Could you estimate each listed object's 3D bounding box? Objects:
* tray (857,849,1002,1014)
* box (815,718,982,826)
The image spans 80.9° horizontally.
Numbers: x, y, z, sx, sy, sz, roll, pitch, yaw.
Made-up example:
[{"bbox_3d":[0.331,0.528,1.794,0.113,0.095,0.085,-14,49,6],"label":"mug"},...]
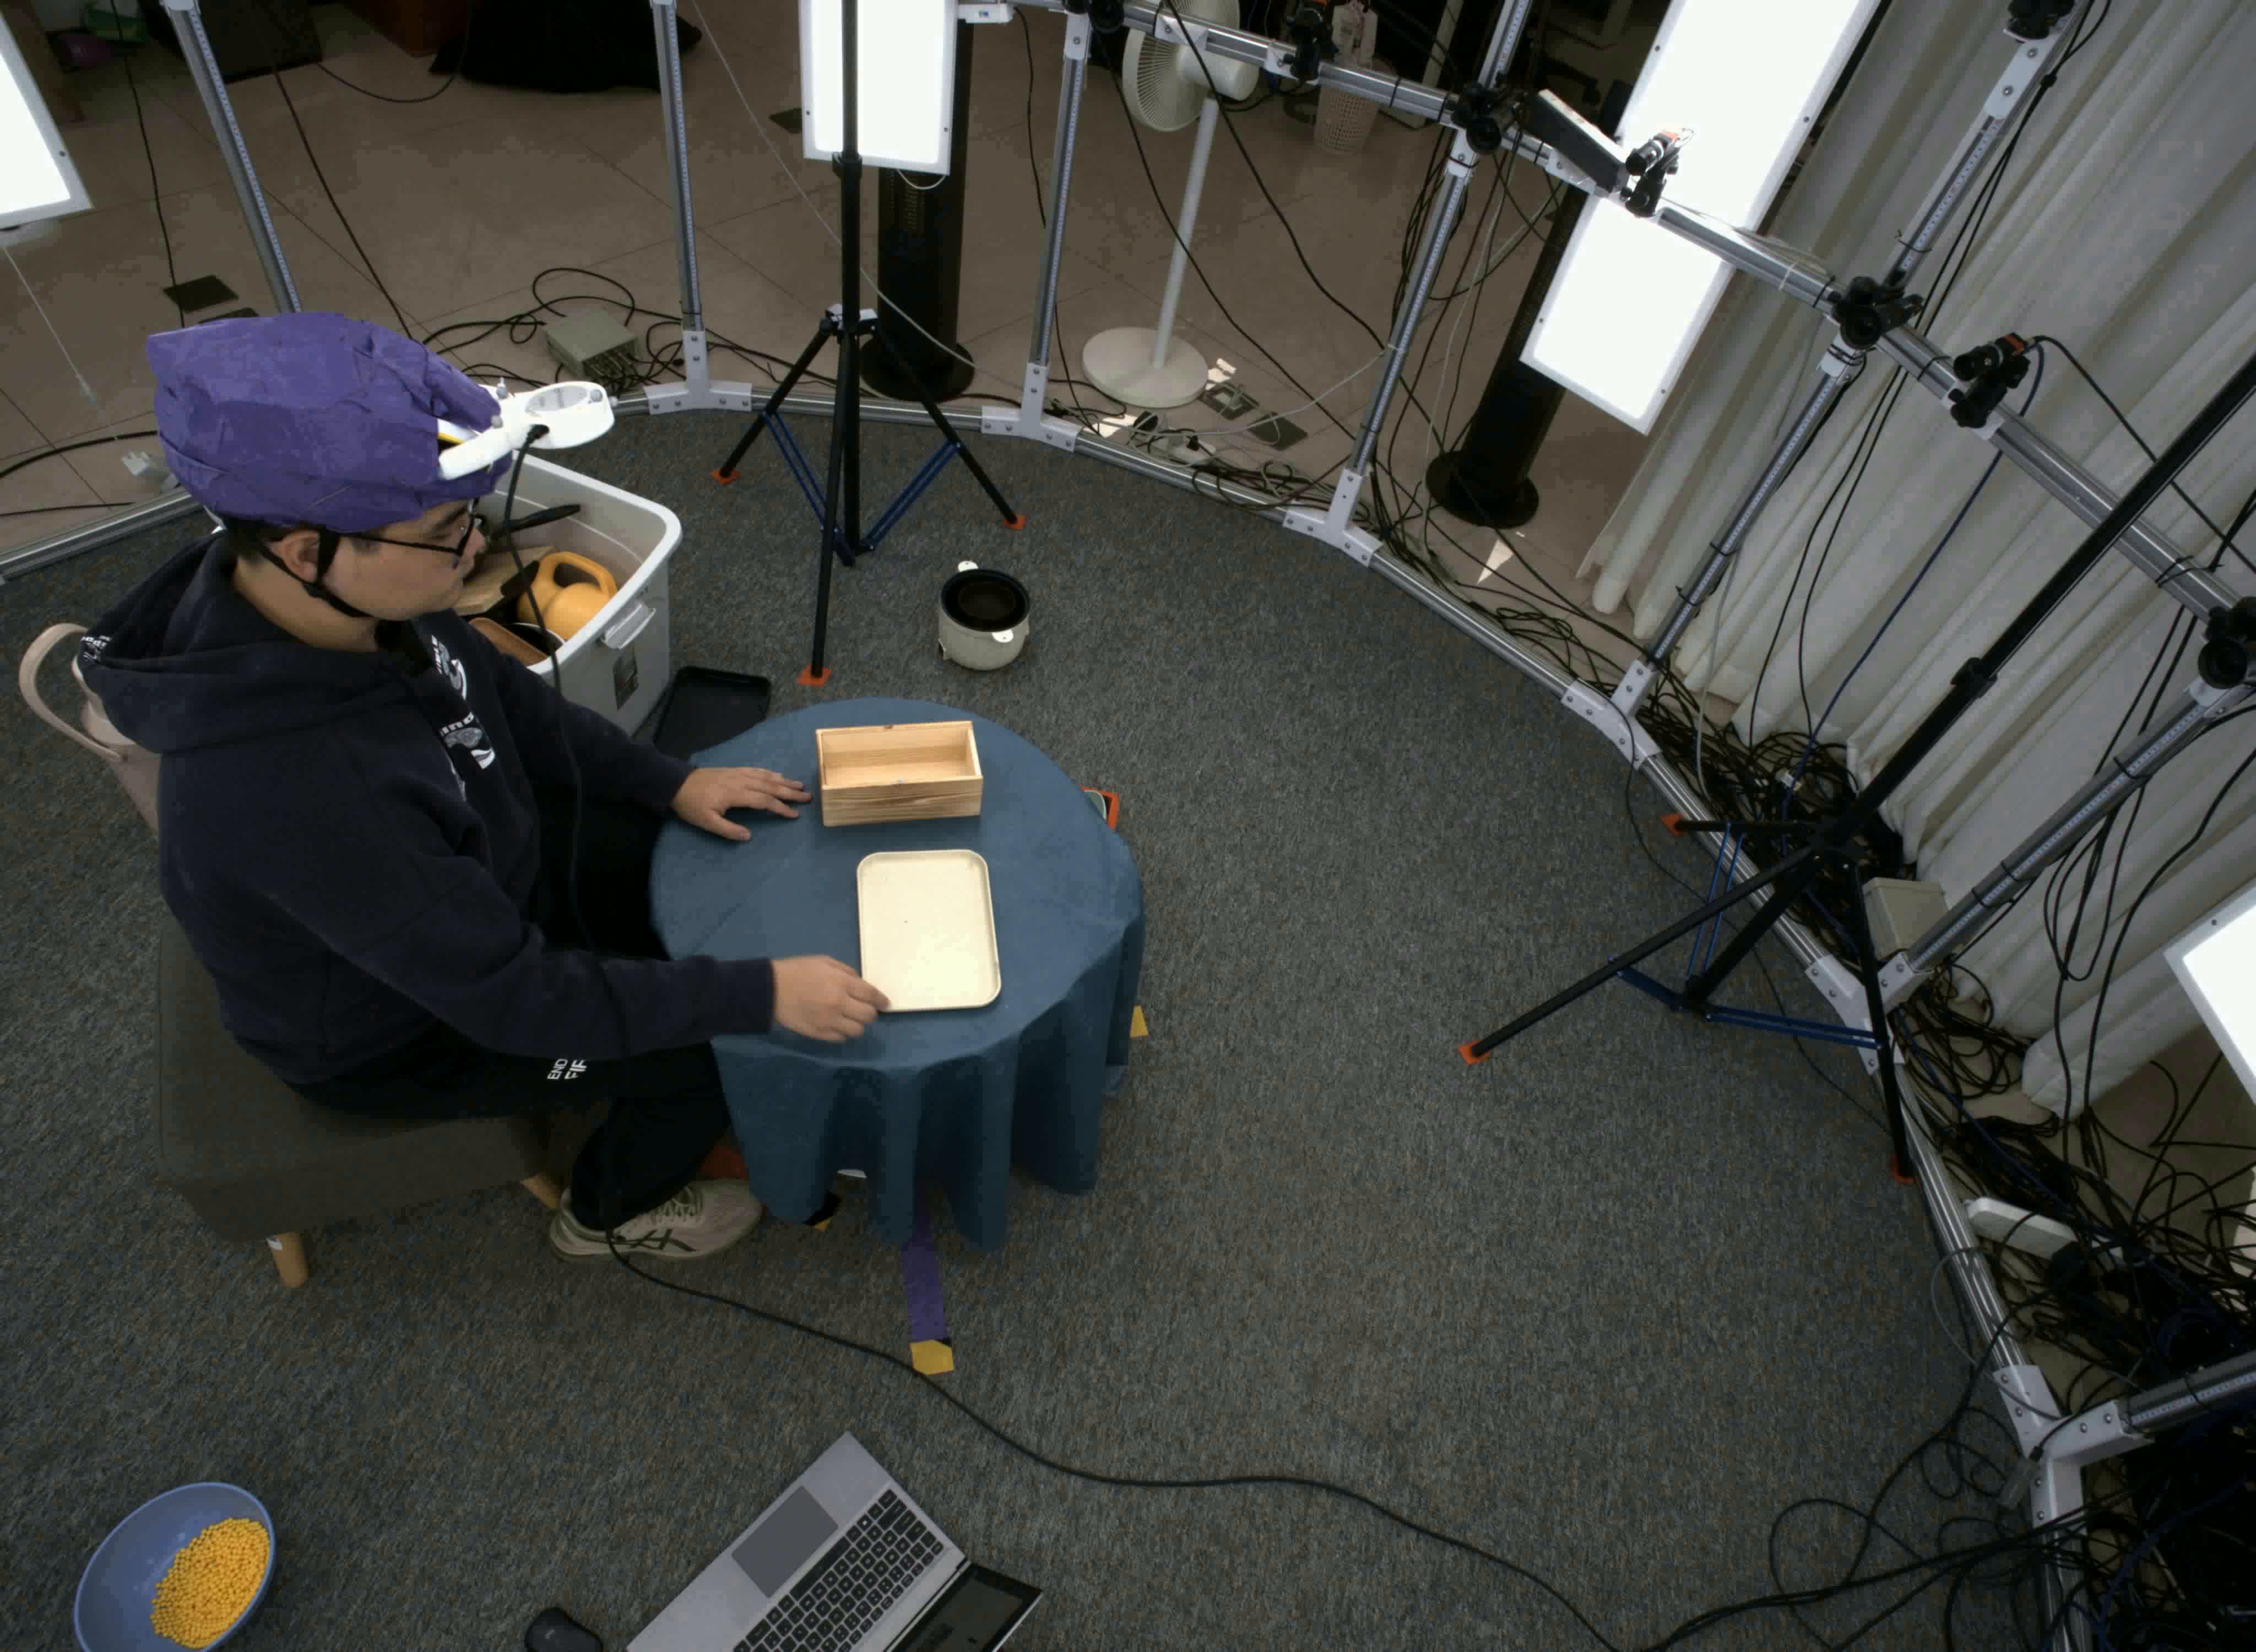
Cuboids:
[{"bbox_3d":[-0.254,0.130,1.654,0.171,0.018,0.234,-2,54,-14],"label":"tray"},{"bbox_3d":[-0.310,-0.074,1.753,0.212,0.082,0.105,-5,54,-17],"label":"box"}]
